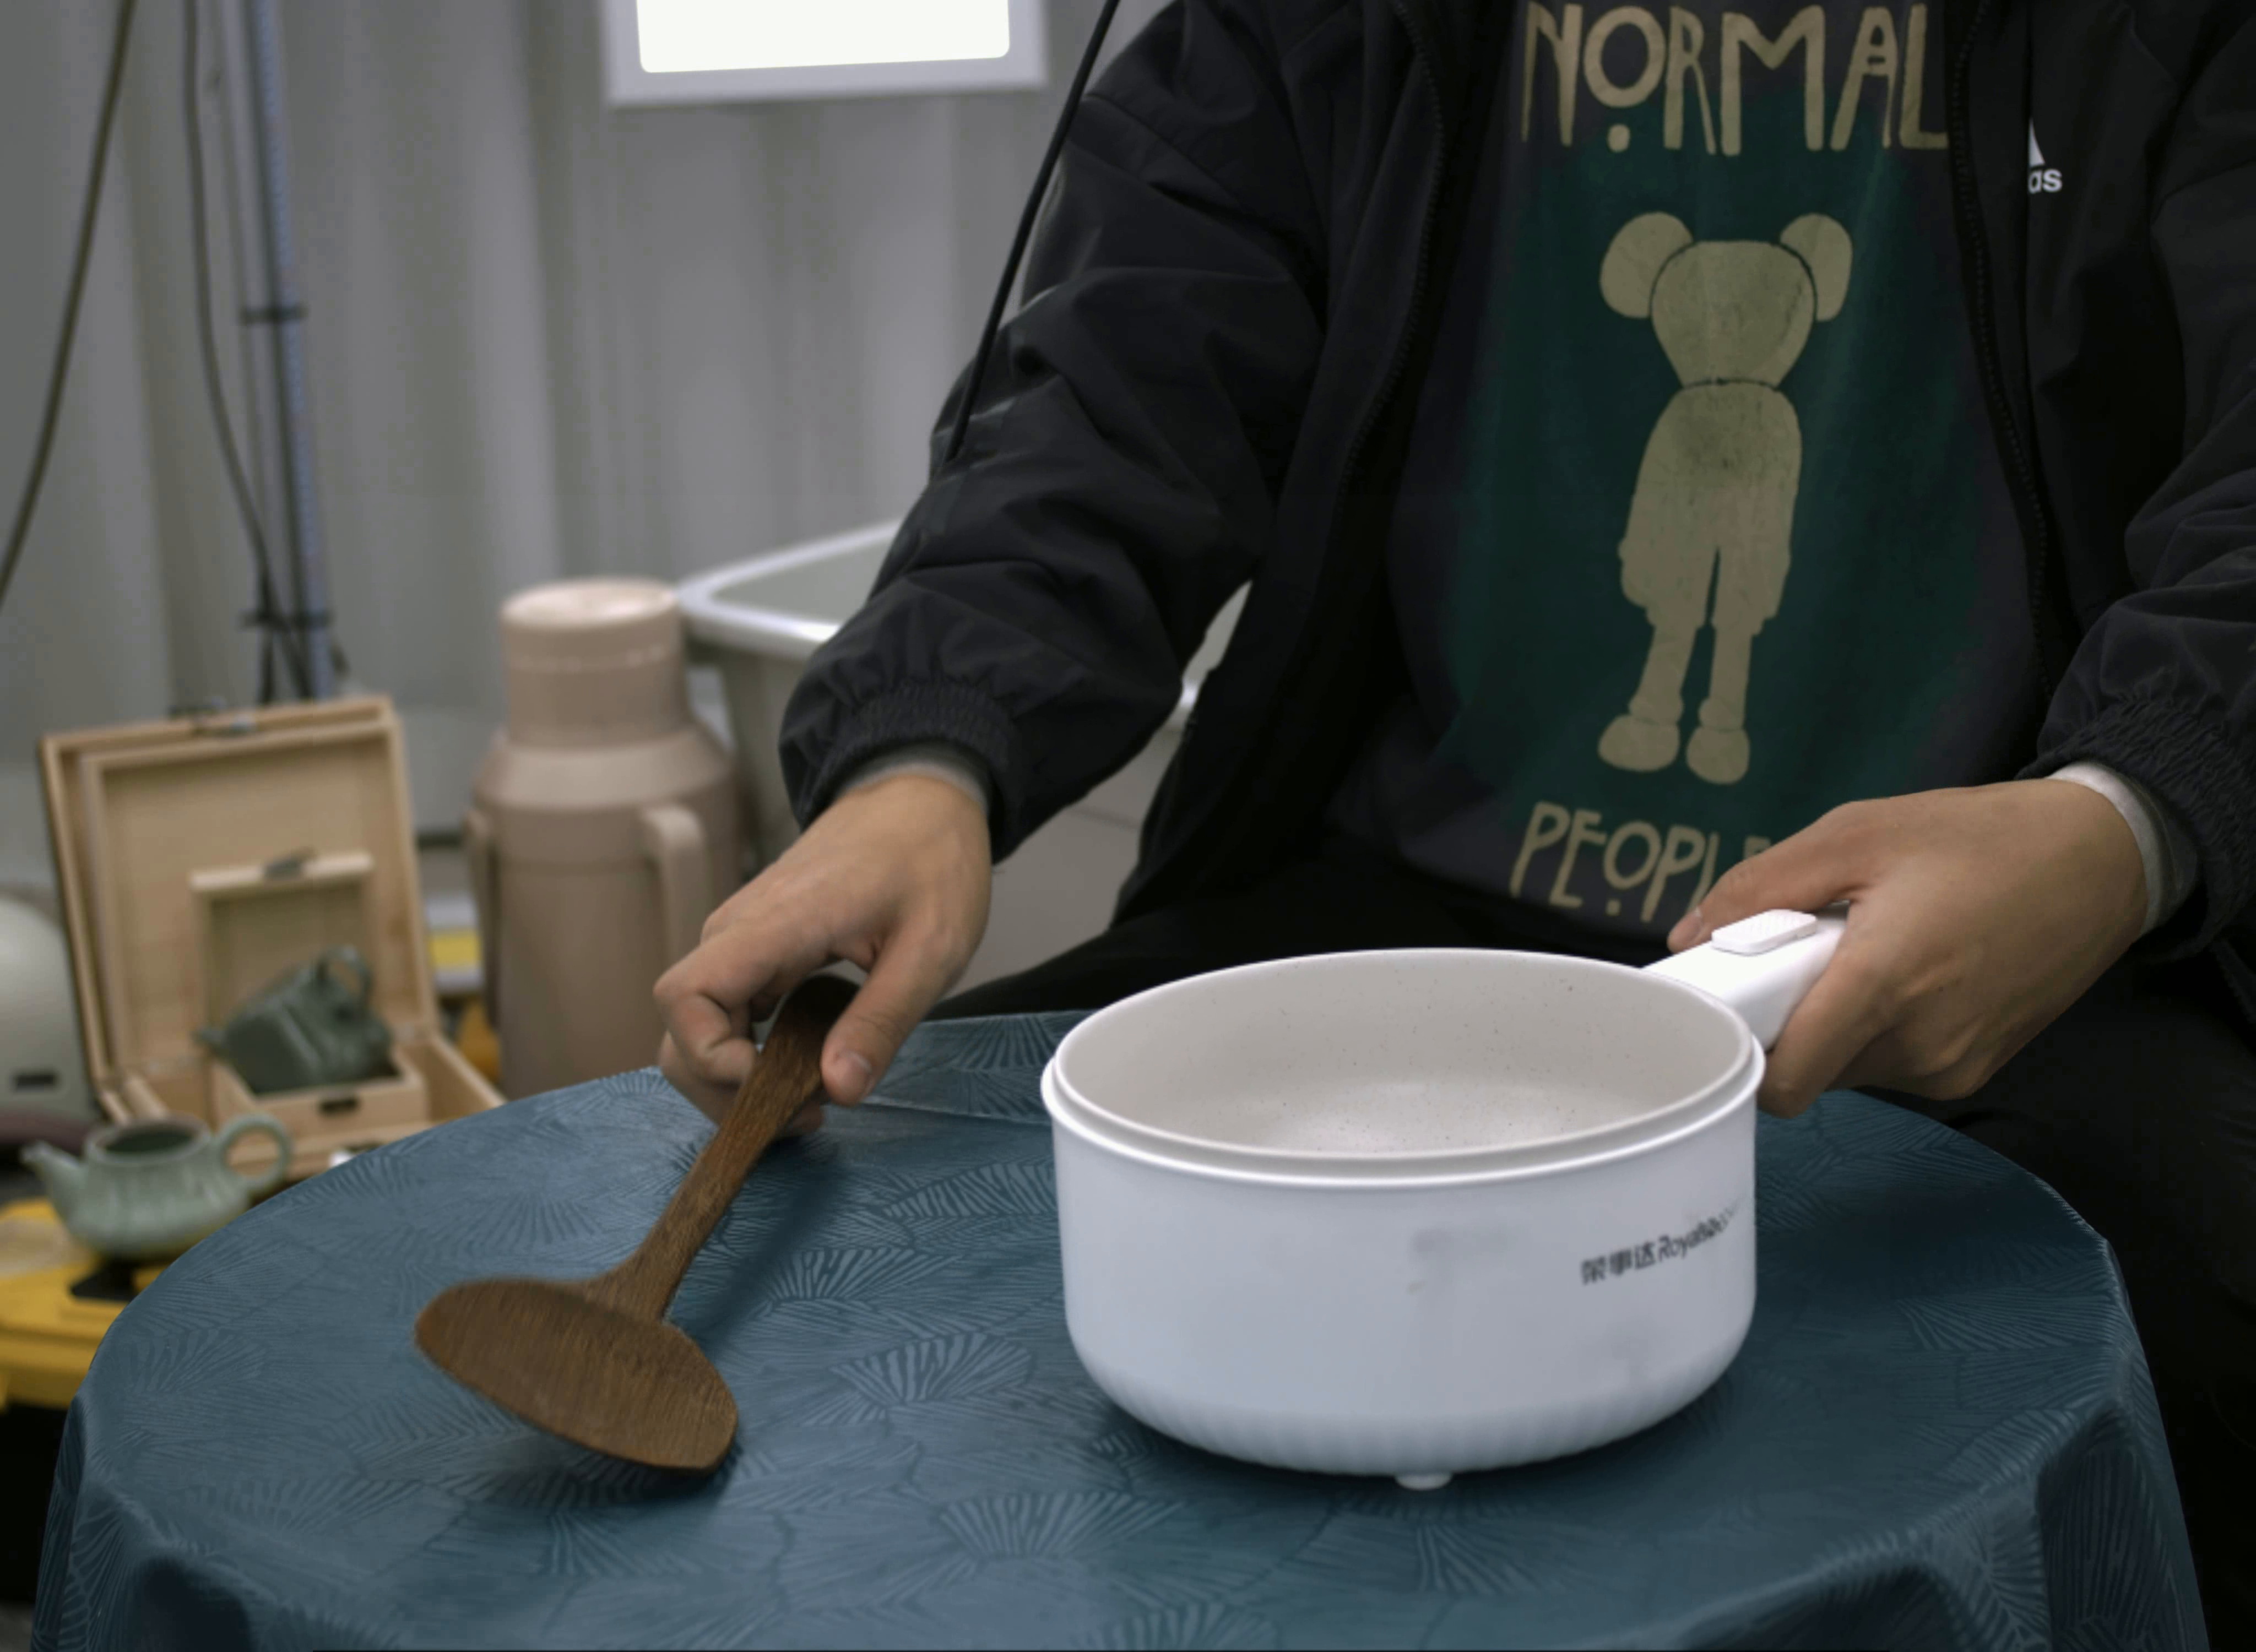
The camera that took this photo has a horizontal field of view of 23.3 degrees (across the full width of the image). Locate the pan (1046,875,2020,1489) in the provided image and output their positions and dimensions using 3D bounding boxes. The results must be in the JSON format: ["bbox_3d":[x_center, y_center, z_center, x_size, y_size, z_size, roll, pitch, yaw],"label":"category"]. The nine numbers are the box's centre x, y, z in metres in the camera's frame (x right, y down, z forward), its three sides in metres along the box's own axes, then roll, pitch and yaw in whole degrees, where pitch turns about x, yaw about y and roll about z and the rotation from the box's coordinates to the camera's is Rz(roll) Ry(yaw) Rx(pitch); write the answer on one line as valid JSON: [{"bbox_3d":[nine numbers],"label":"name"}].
[{"bbox_3d":[0.133,0.096,1.577,0.354,0.102,0.202,-15,18,-42],"label":"pan"}]

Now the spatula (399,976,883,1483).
[{"bbox_3d":[-0.127,0.111,1.655,0.096,0.016,0.388,20,20,4],"label":"spatula"}]
